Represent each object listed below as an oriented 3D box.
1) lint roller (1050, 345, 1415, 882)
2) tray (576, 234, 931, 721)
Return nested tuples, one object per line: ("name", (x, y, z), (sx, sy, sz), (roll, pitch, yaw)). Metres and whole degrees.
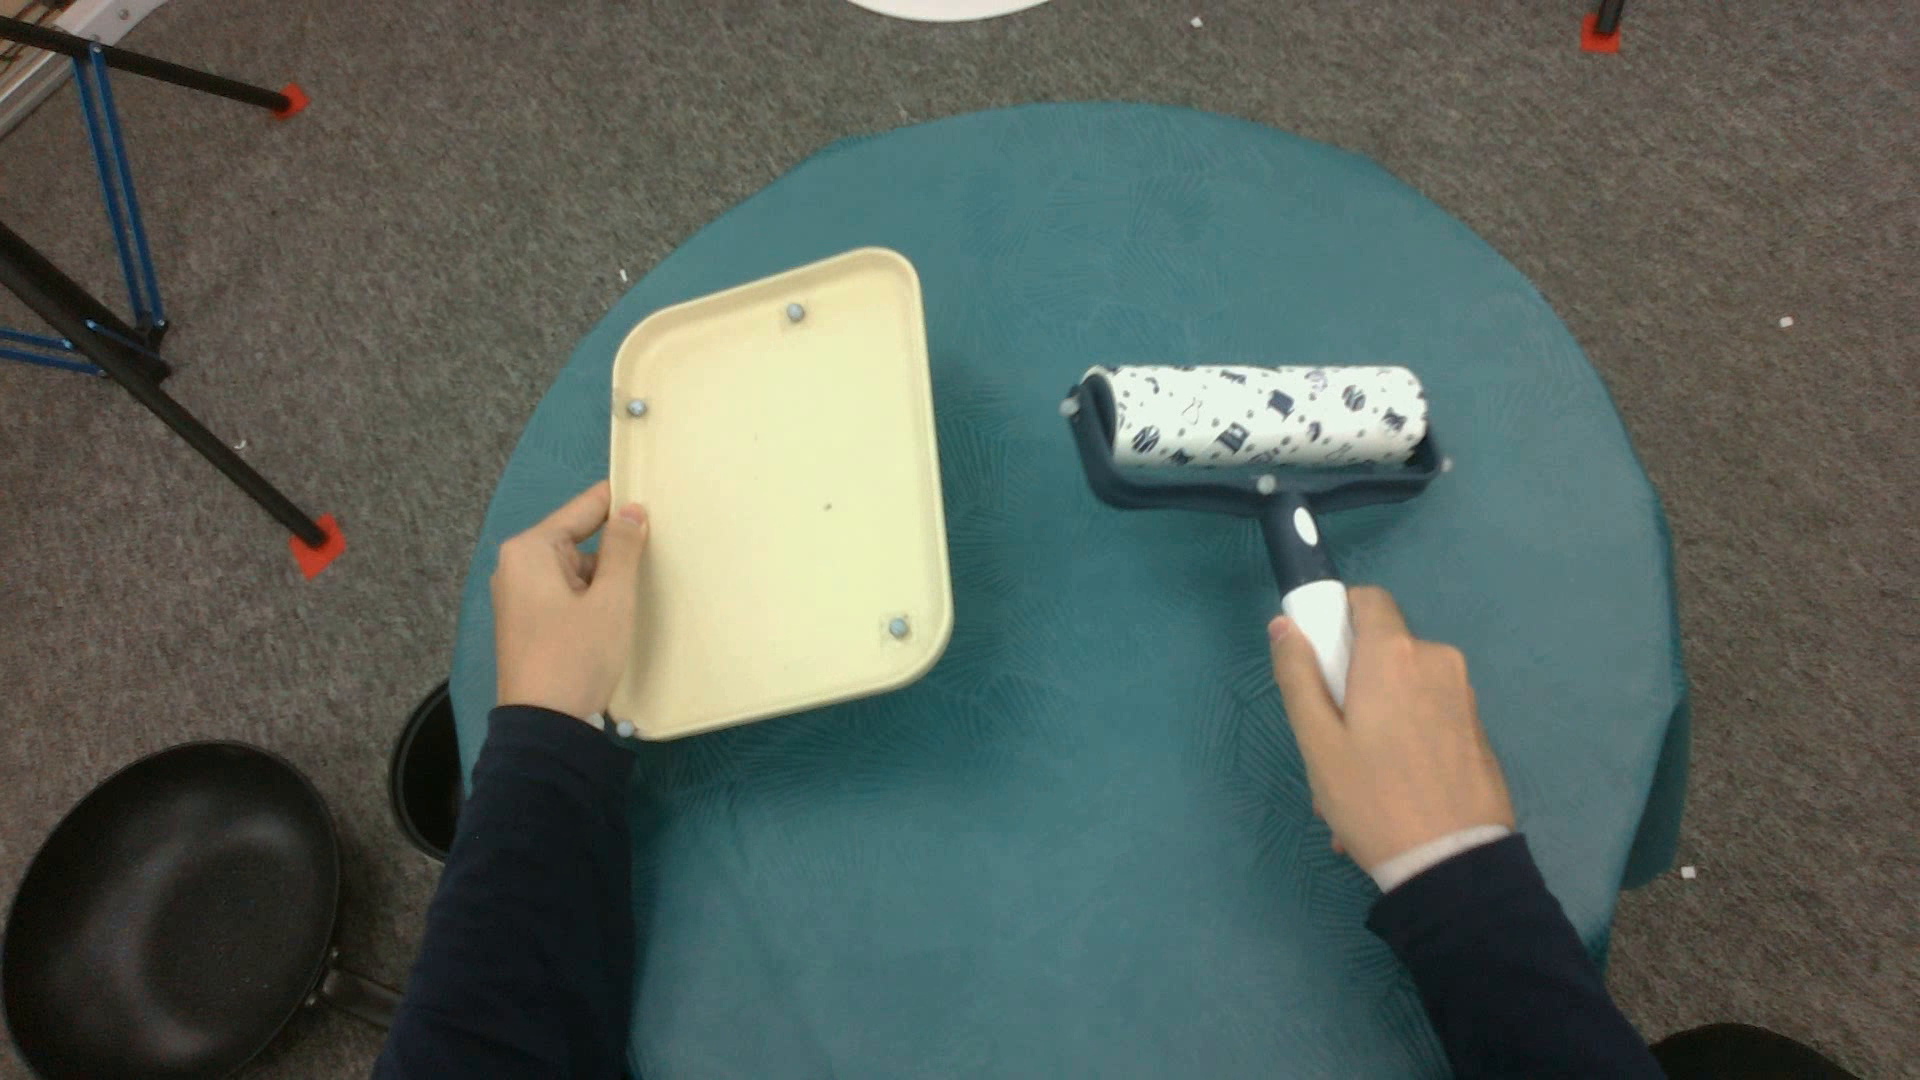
("lint roller", (0.147, 0.022, 0.599), (0.176, 0.050, 0.248), (-3, 62, -22))
("tray", (-0.101, -0.035, 0.656), (0.171, 0.017, 0.240), (-13, 60, 11))
